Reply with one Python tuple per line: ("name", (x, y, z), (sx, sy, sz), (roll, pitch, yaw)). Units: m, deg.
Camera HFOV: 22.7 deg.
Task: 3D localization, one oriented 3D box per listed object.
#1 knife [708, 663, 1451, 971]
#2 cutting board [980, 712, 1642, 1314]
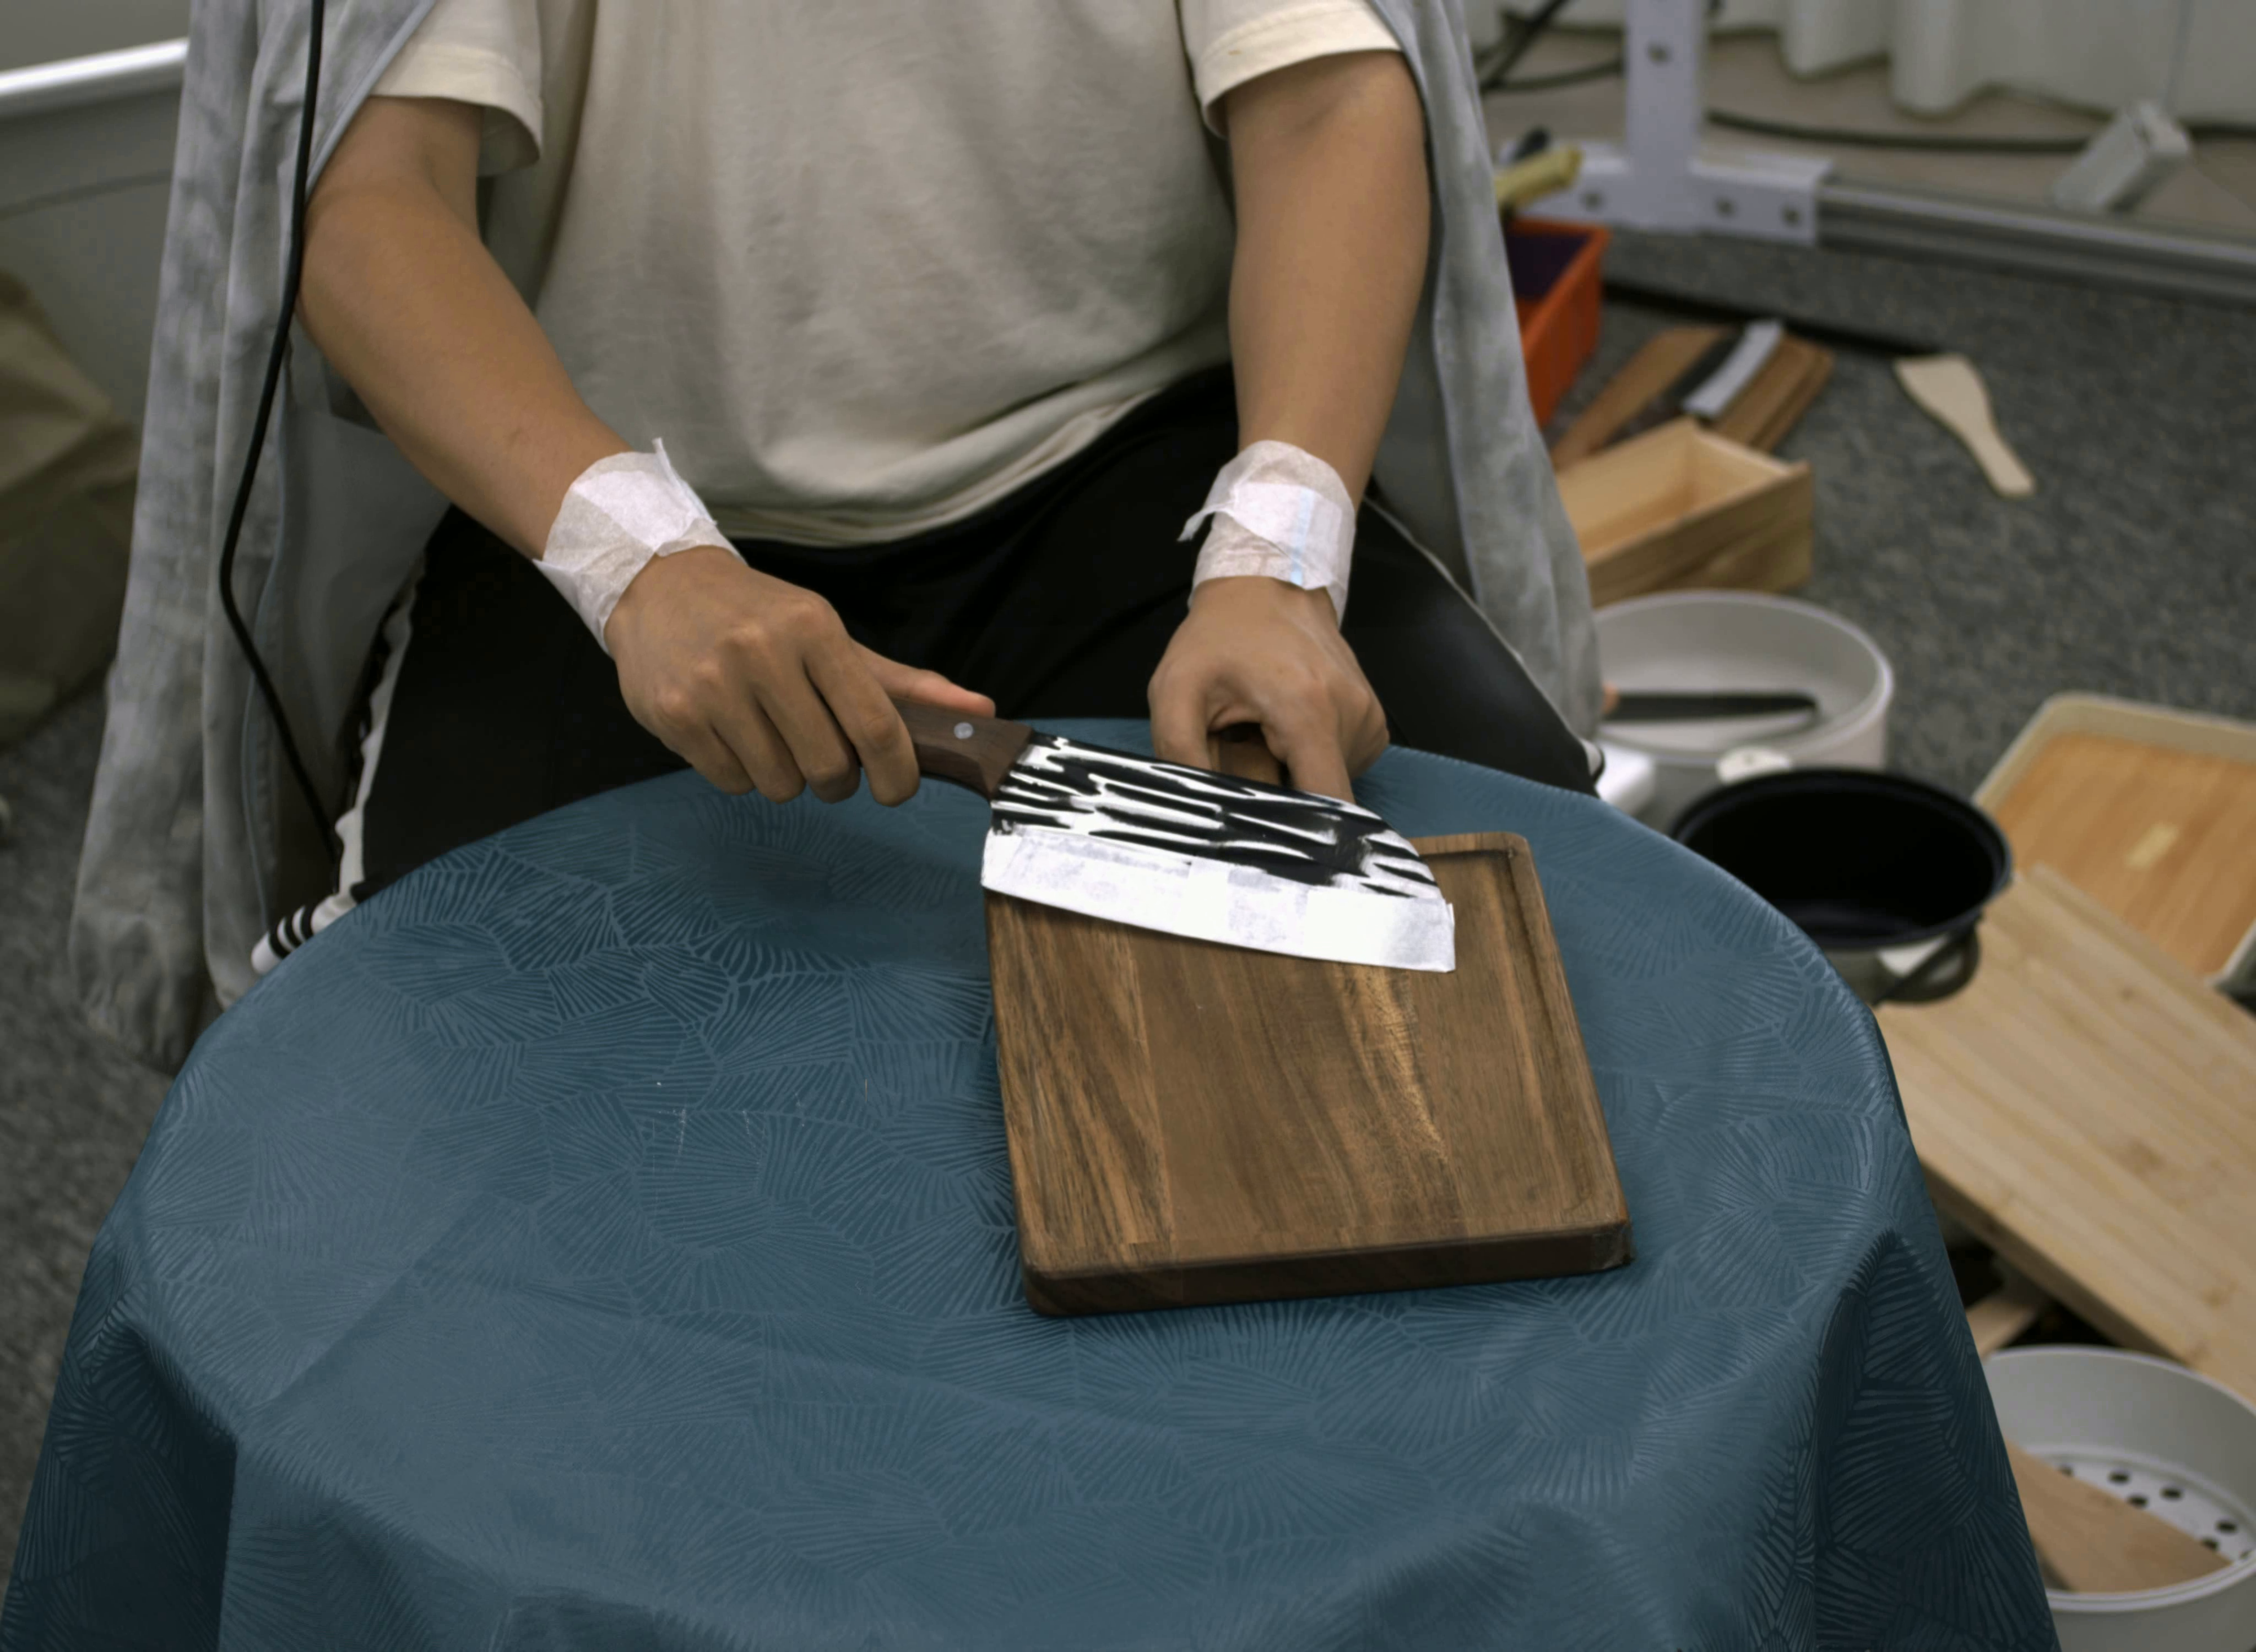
("knife", (-0.021, -0.002, 1.990), (0.298, 0.023, 0.069), (14, 59, 17))
("cutting board", (0.052, 0.054, 1.943), (0.200, 0.023, 0.357), (-4, 30, -3))
